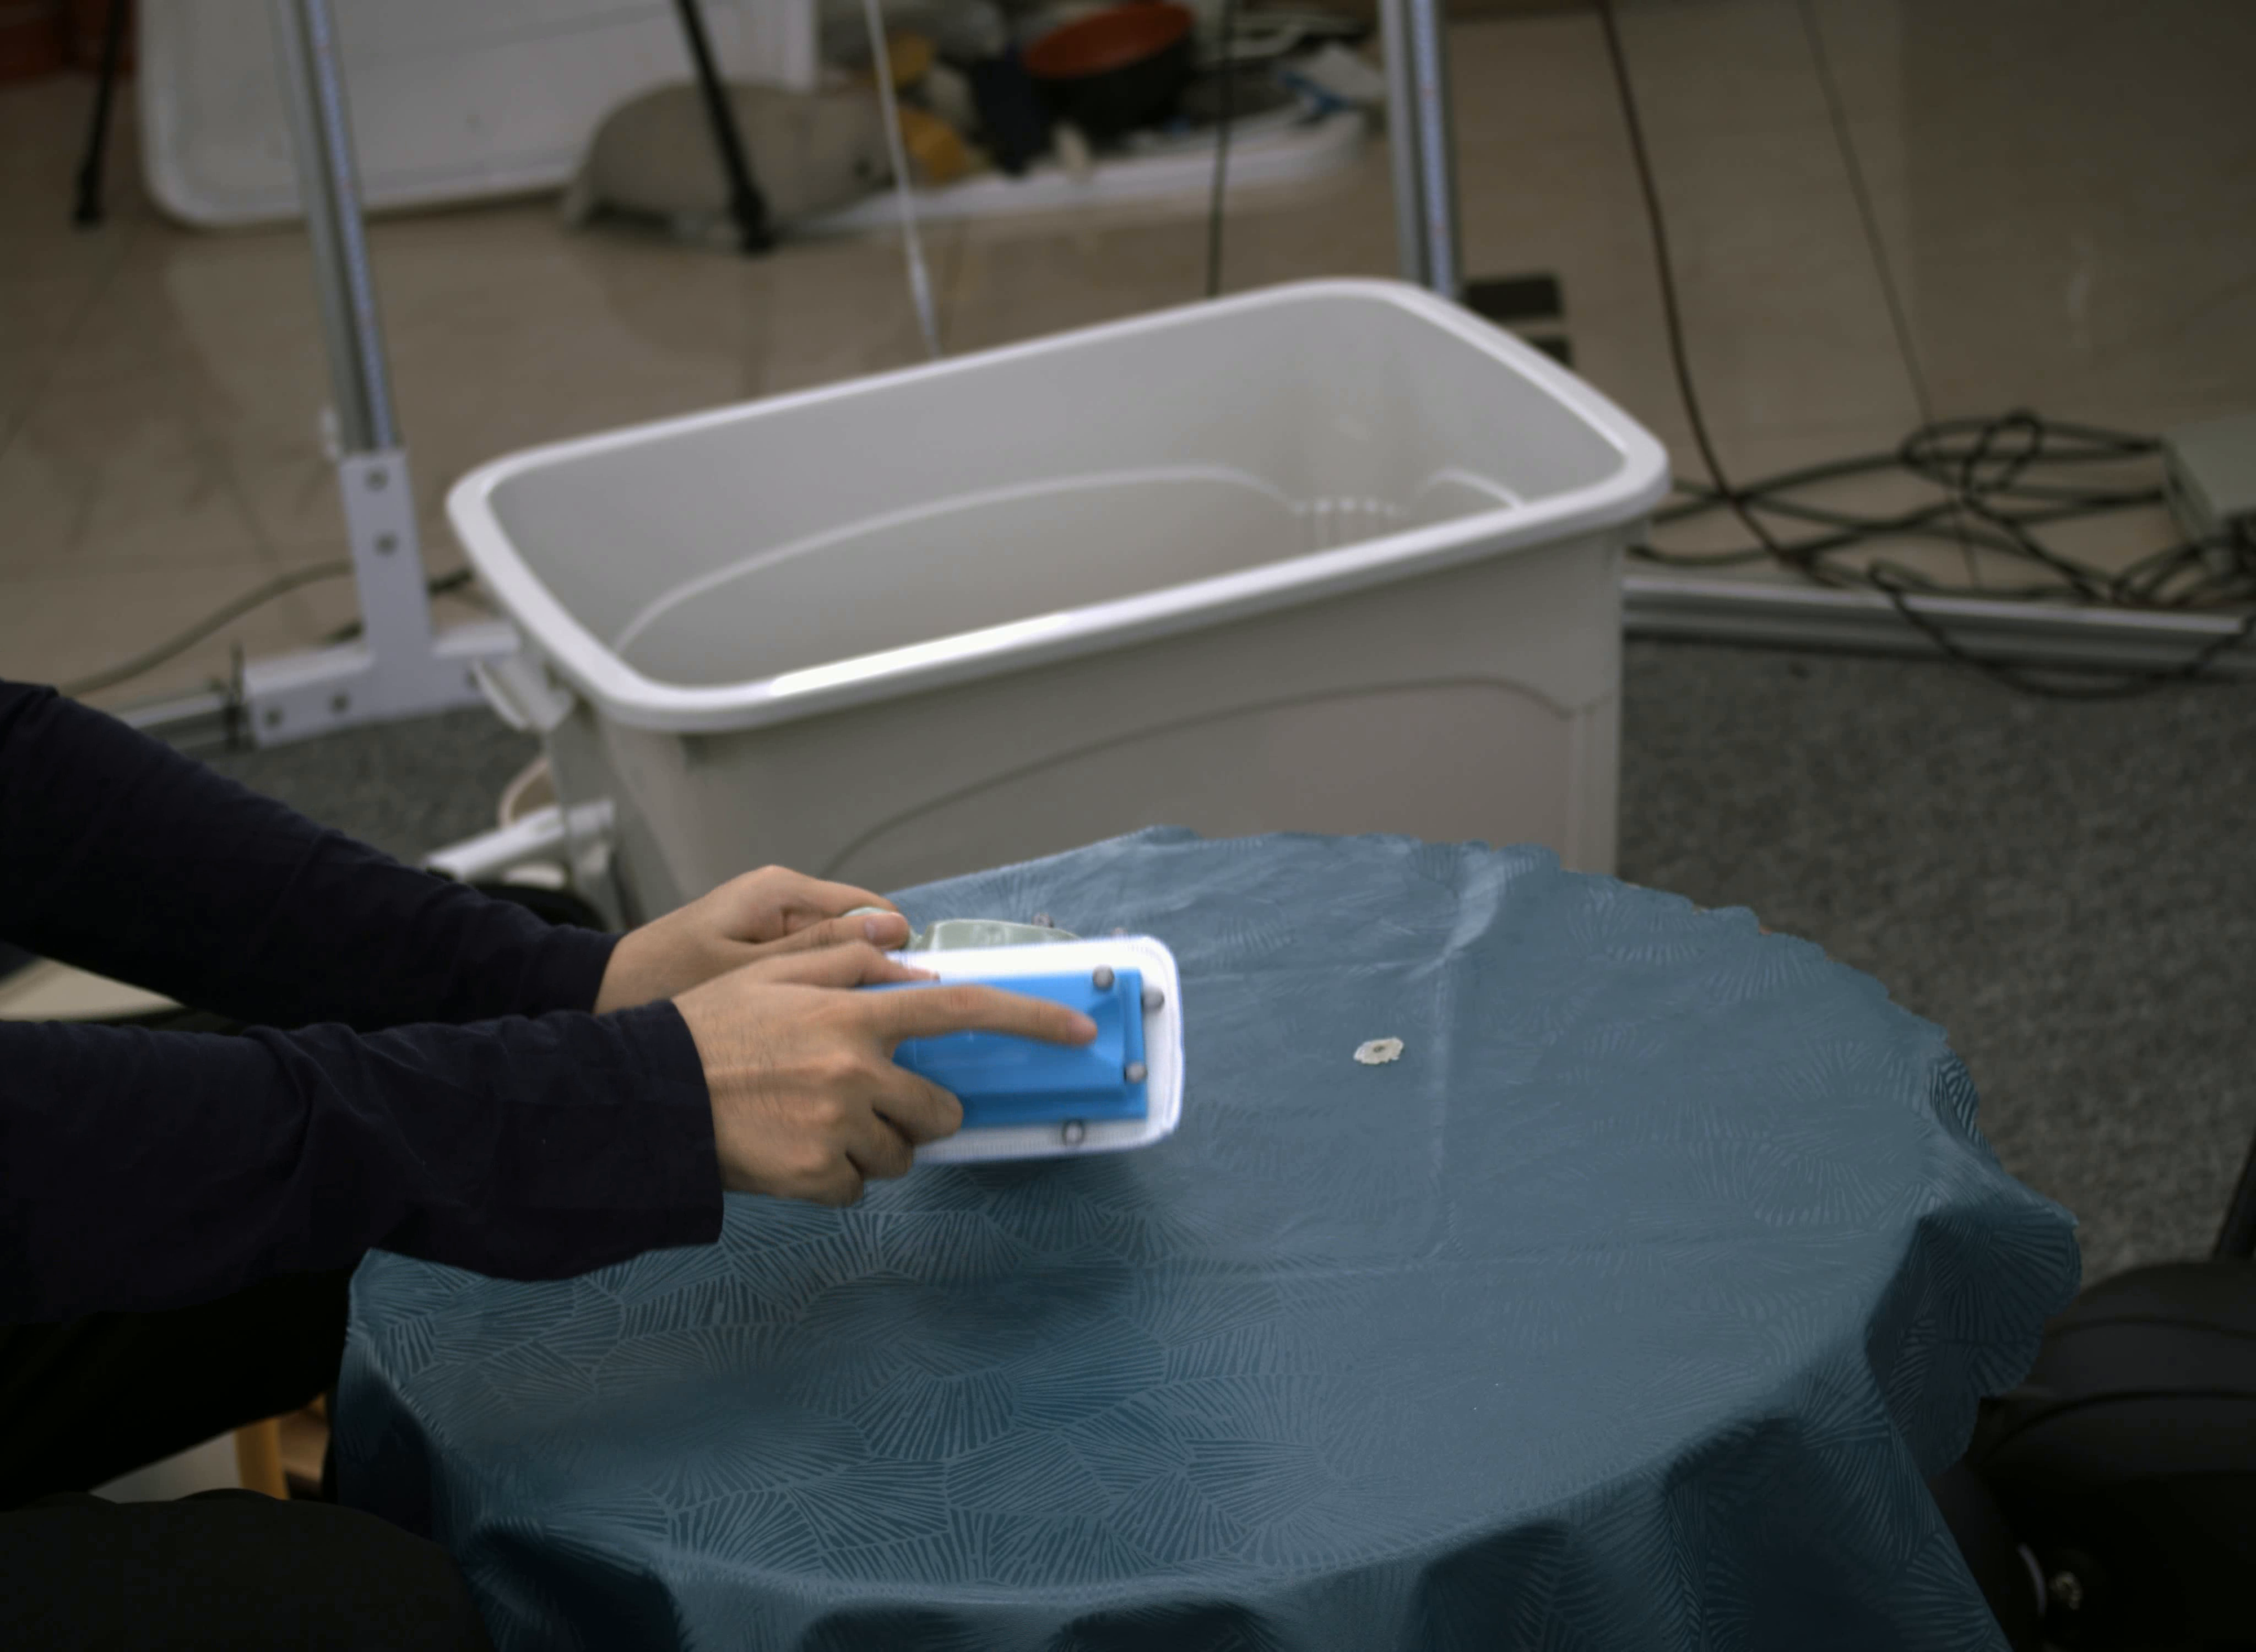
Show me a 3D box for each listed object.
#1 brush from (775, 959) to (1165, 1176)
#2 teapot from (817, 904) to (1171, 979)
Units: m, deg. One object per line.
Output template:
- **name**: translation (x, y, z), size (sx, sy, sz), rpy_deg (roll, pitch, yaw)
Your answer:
- **brush**: translation (-0.058, 0.083, 2.071), size (0.144, 0.083, 0.056), rpy_deg (0, -18, 3)
- **teapot**: translation (-0.054, 0.067, 2.192), size (0.136, 0.061, 0.096), rpy_deg (7, -6, 6)
